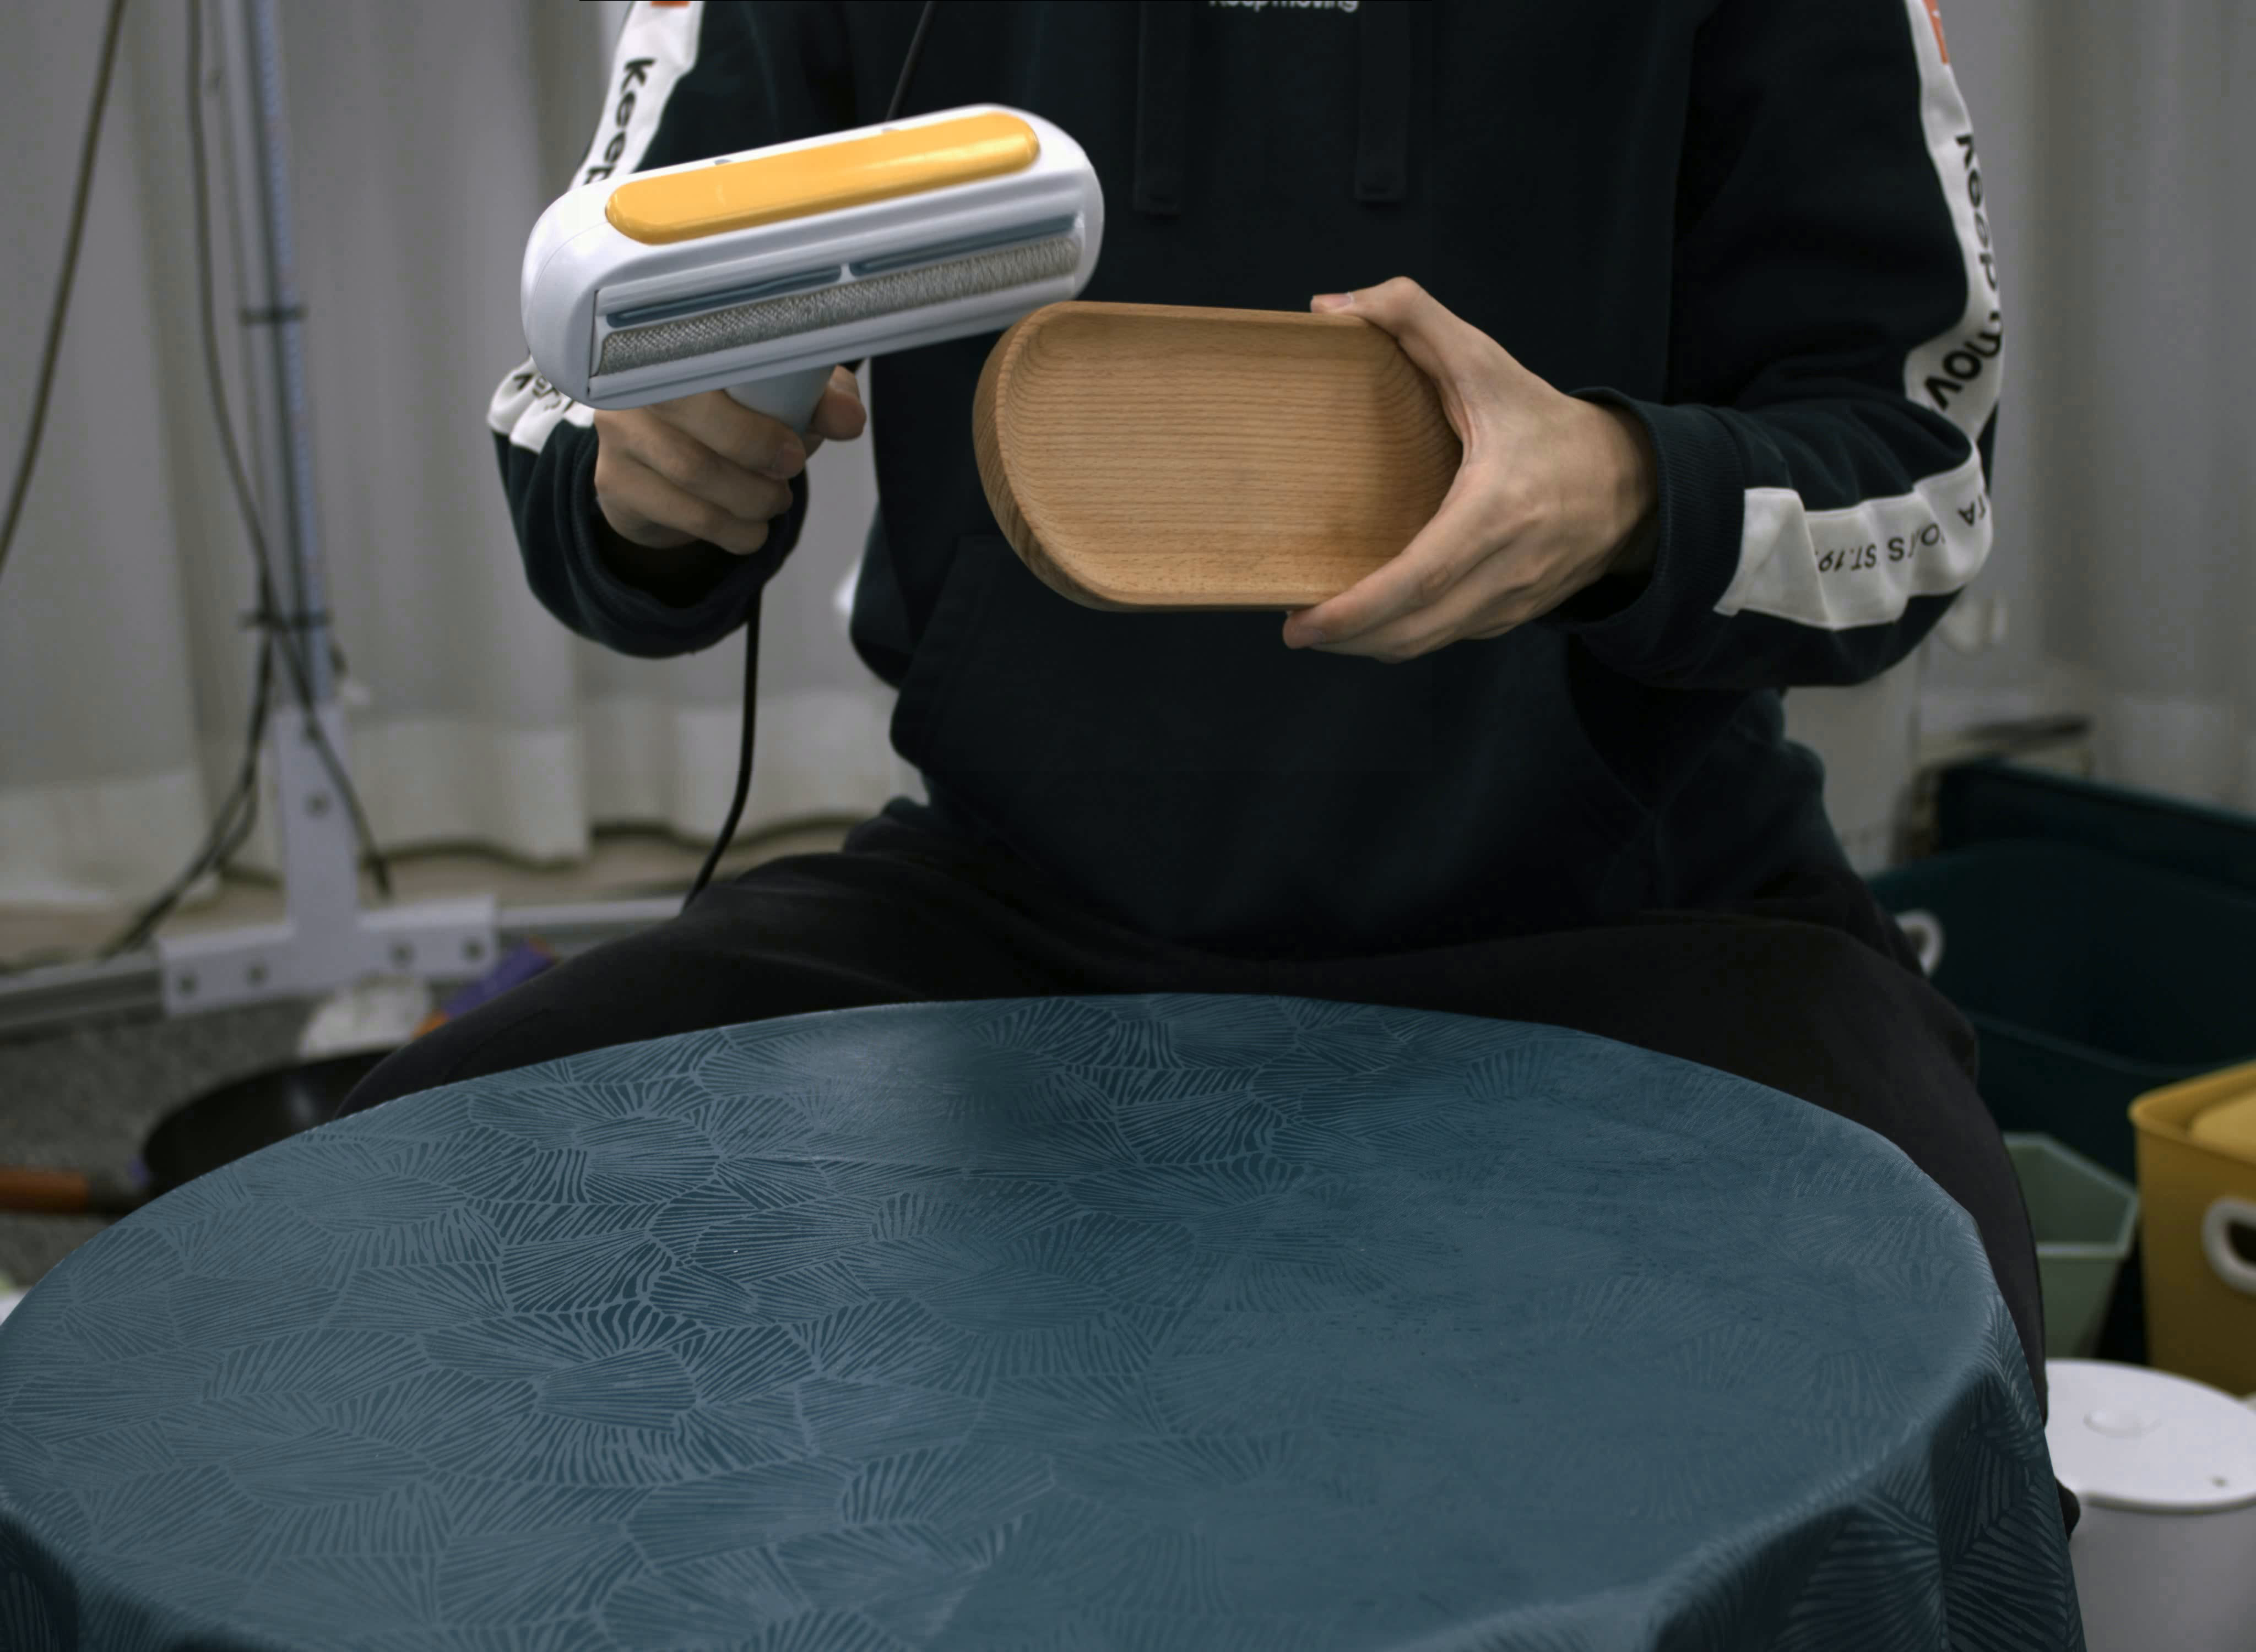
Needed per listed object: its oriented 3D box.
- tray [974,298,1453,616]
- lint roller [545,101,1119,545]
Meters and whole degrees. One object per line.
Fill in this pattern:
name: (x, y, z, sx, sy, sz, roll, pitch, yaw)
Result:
tray: (0.030, -0.117, 1.770, 0.020, 0.102, 0.230, -18, -10, 40)
lint roller: (-0.110, -0.148, 1.770, 0.192, 0.190, 0.075, -15, 55, -30)
